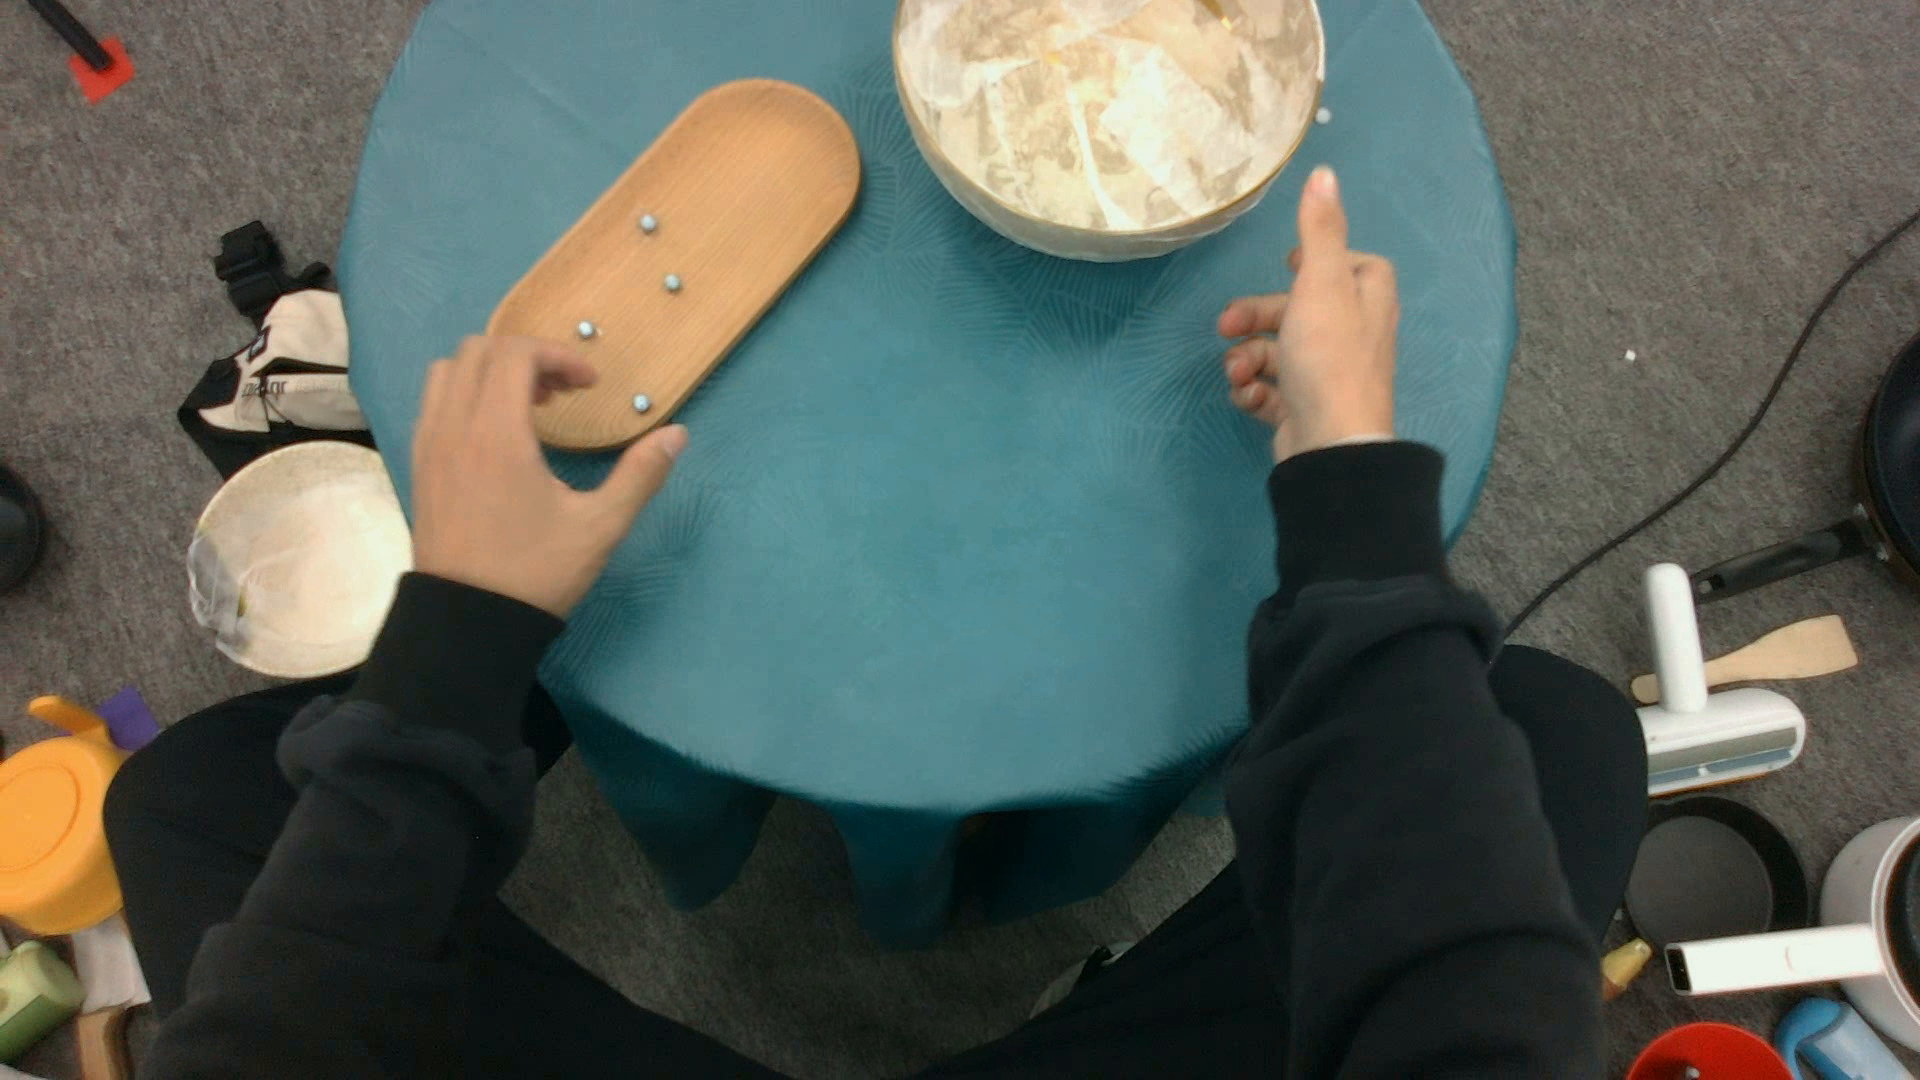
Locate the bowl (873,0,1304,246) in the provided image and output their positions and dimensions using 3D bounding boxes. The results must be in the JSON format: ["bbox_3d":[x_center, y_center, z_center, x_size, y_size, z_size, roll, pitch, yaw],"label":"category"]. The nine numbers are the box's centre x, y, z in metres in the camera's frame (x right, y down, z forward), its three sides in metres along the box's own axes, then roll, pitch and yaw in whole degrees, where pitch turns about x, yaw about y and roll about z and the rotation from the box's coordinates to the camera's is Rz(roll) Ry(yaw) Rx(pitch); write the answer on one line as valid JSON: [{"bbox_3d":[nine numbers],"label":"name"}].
[{"bbox_3d":[0.055,-0.228,0.684,0.215,0.094,0.215,1,75,-4],"label":"bowl"}]

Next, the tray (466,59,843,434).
[{"bbox_3d":[-0.150,-0.149,0.691,0.101,0.020,0.232,36,74,5],"label":"tray"}]
